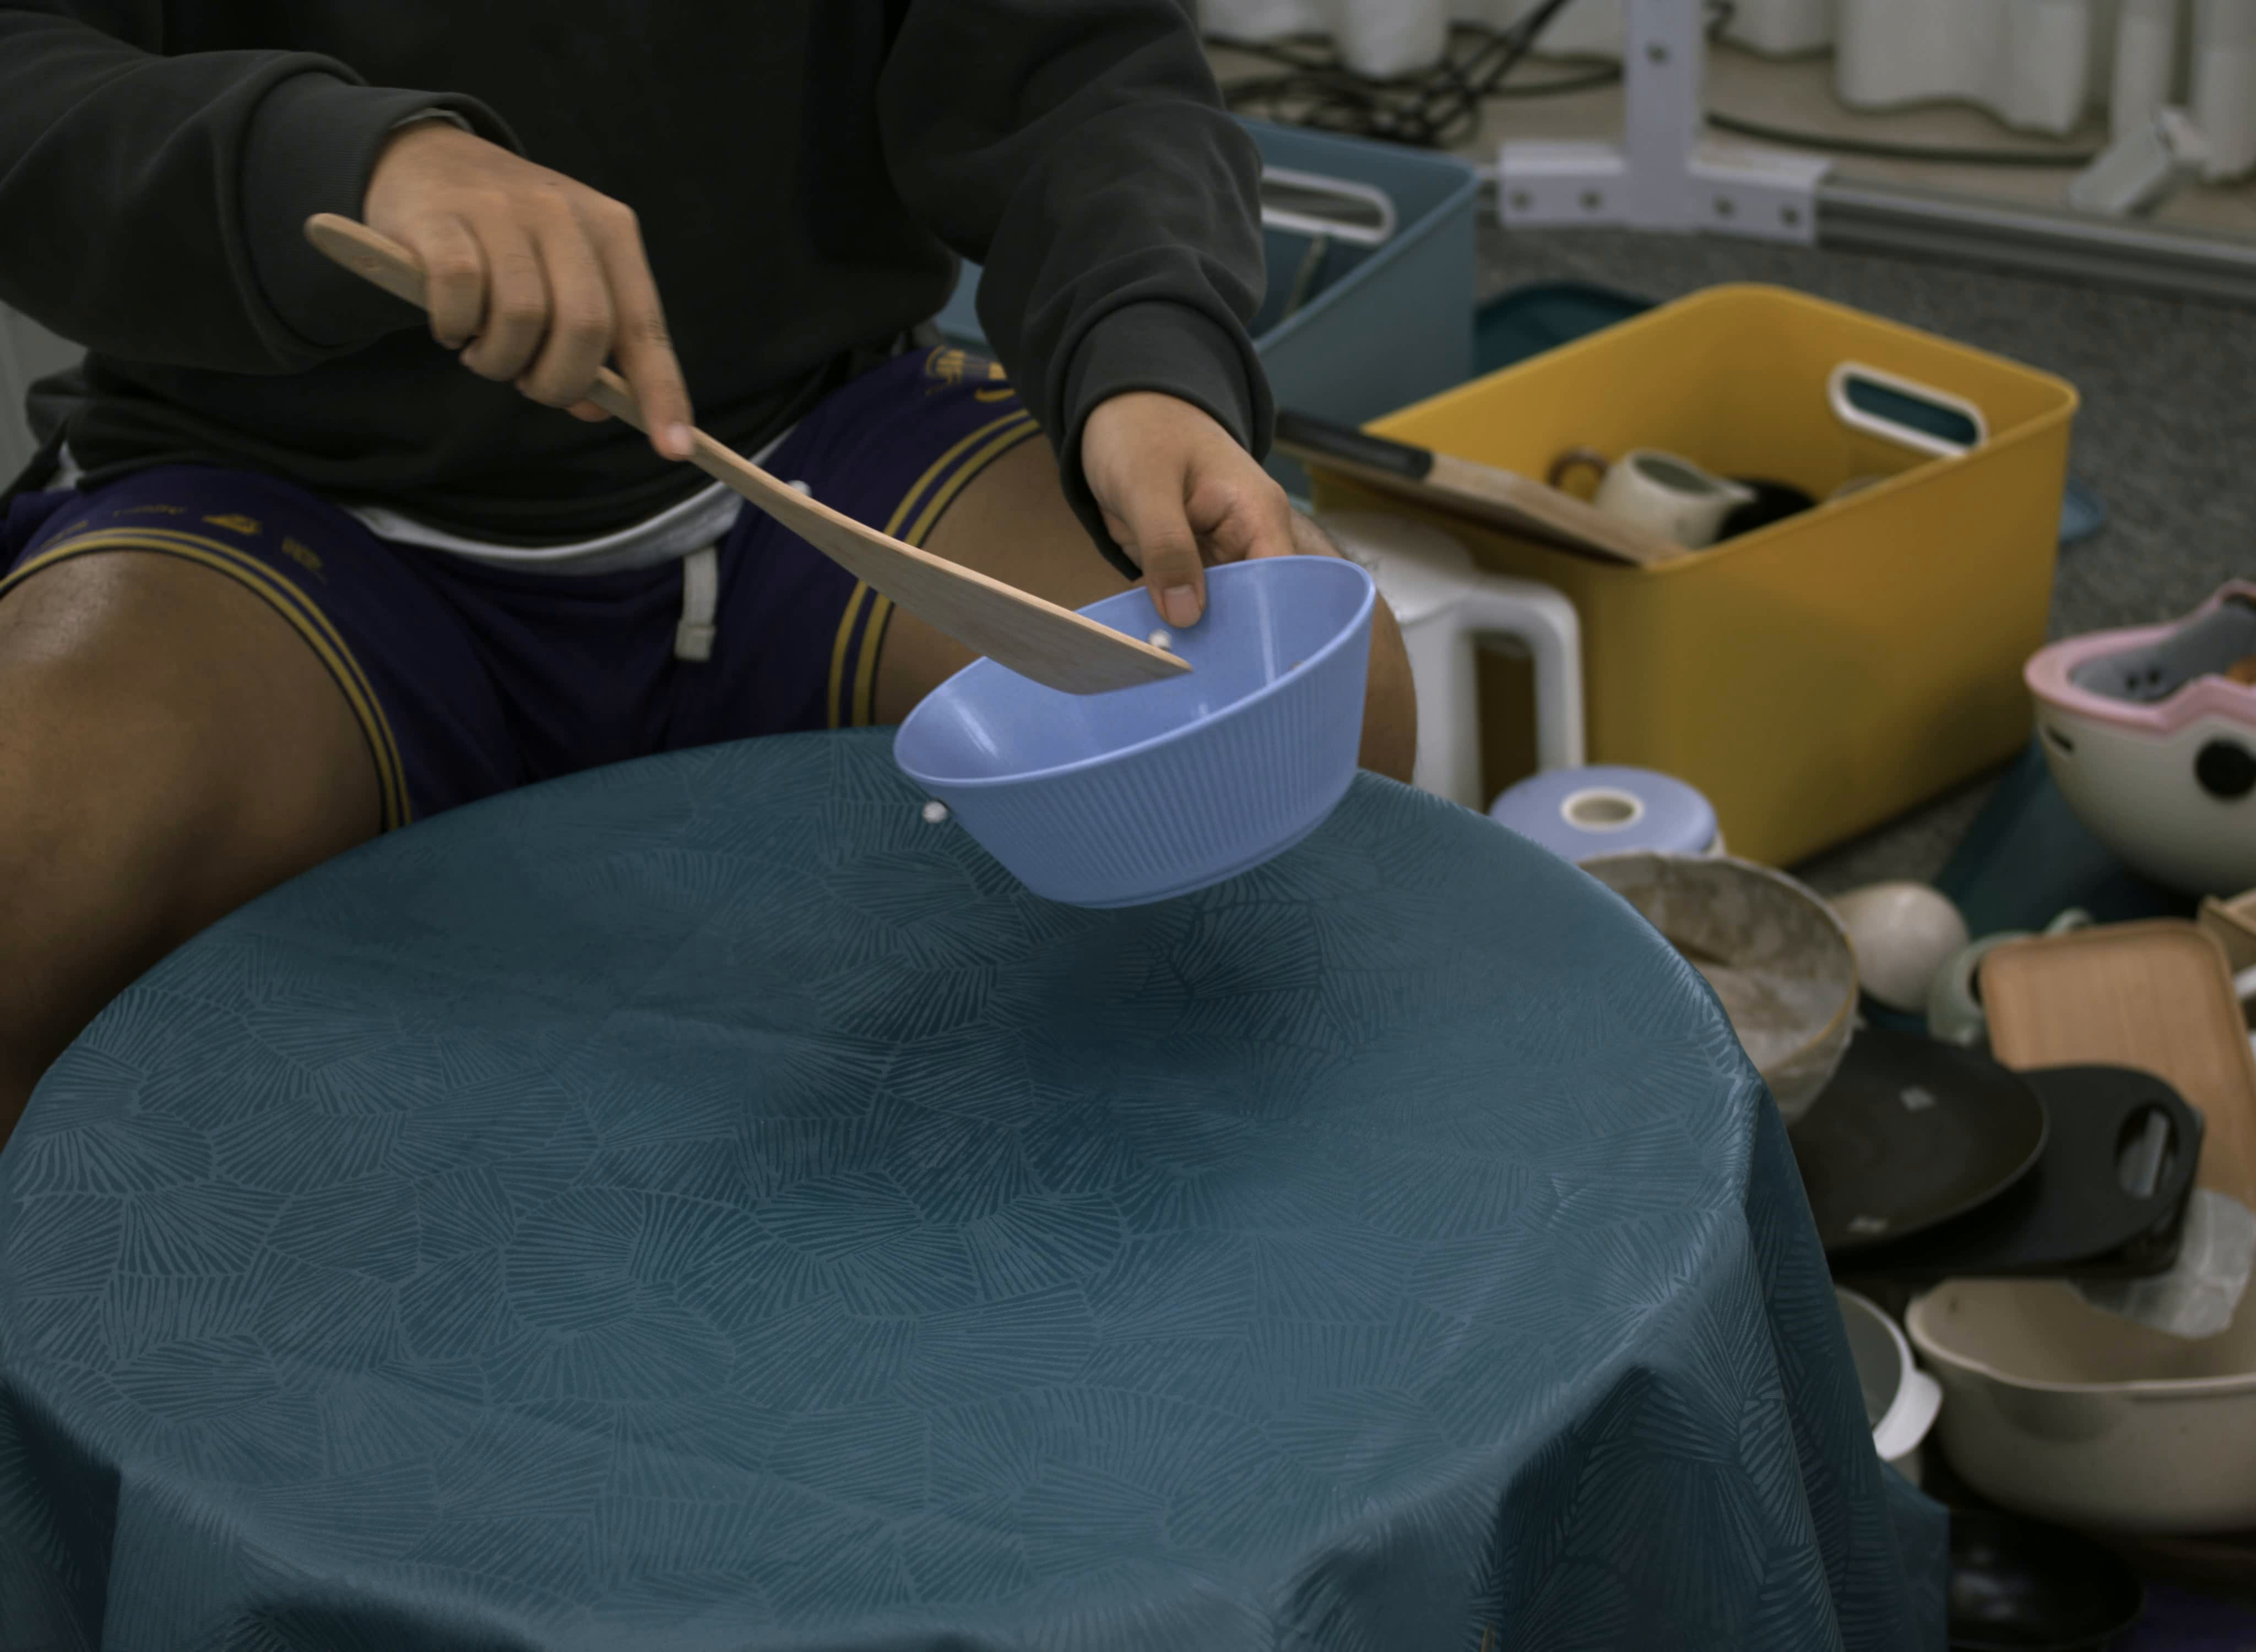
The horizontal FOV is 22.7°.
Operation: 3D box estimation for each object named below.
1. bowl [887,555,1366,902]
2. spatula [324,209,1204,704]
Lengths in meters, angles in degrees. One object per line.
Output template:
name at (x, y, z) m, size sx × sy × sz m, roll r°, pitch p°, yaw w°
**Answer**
bowl at (0.009, -0.028, 1.943) m, size 0.175 × 0.070 × 0.178 m, roll -19°, pitch 18°, yaw 6°
spatula at (-0.125, -0.120, 1.884) m, size 0.326 × 0.017 × 0.079 m, roll 31°, pitch -20°, yaw -14°
